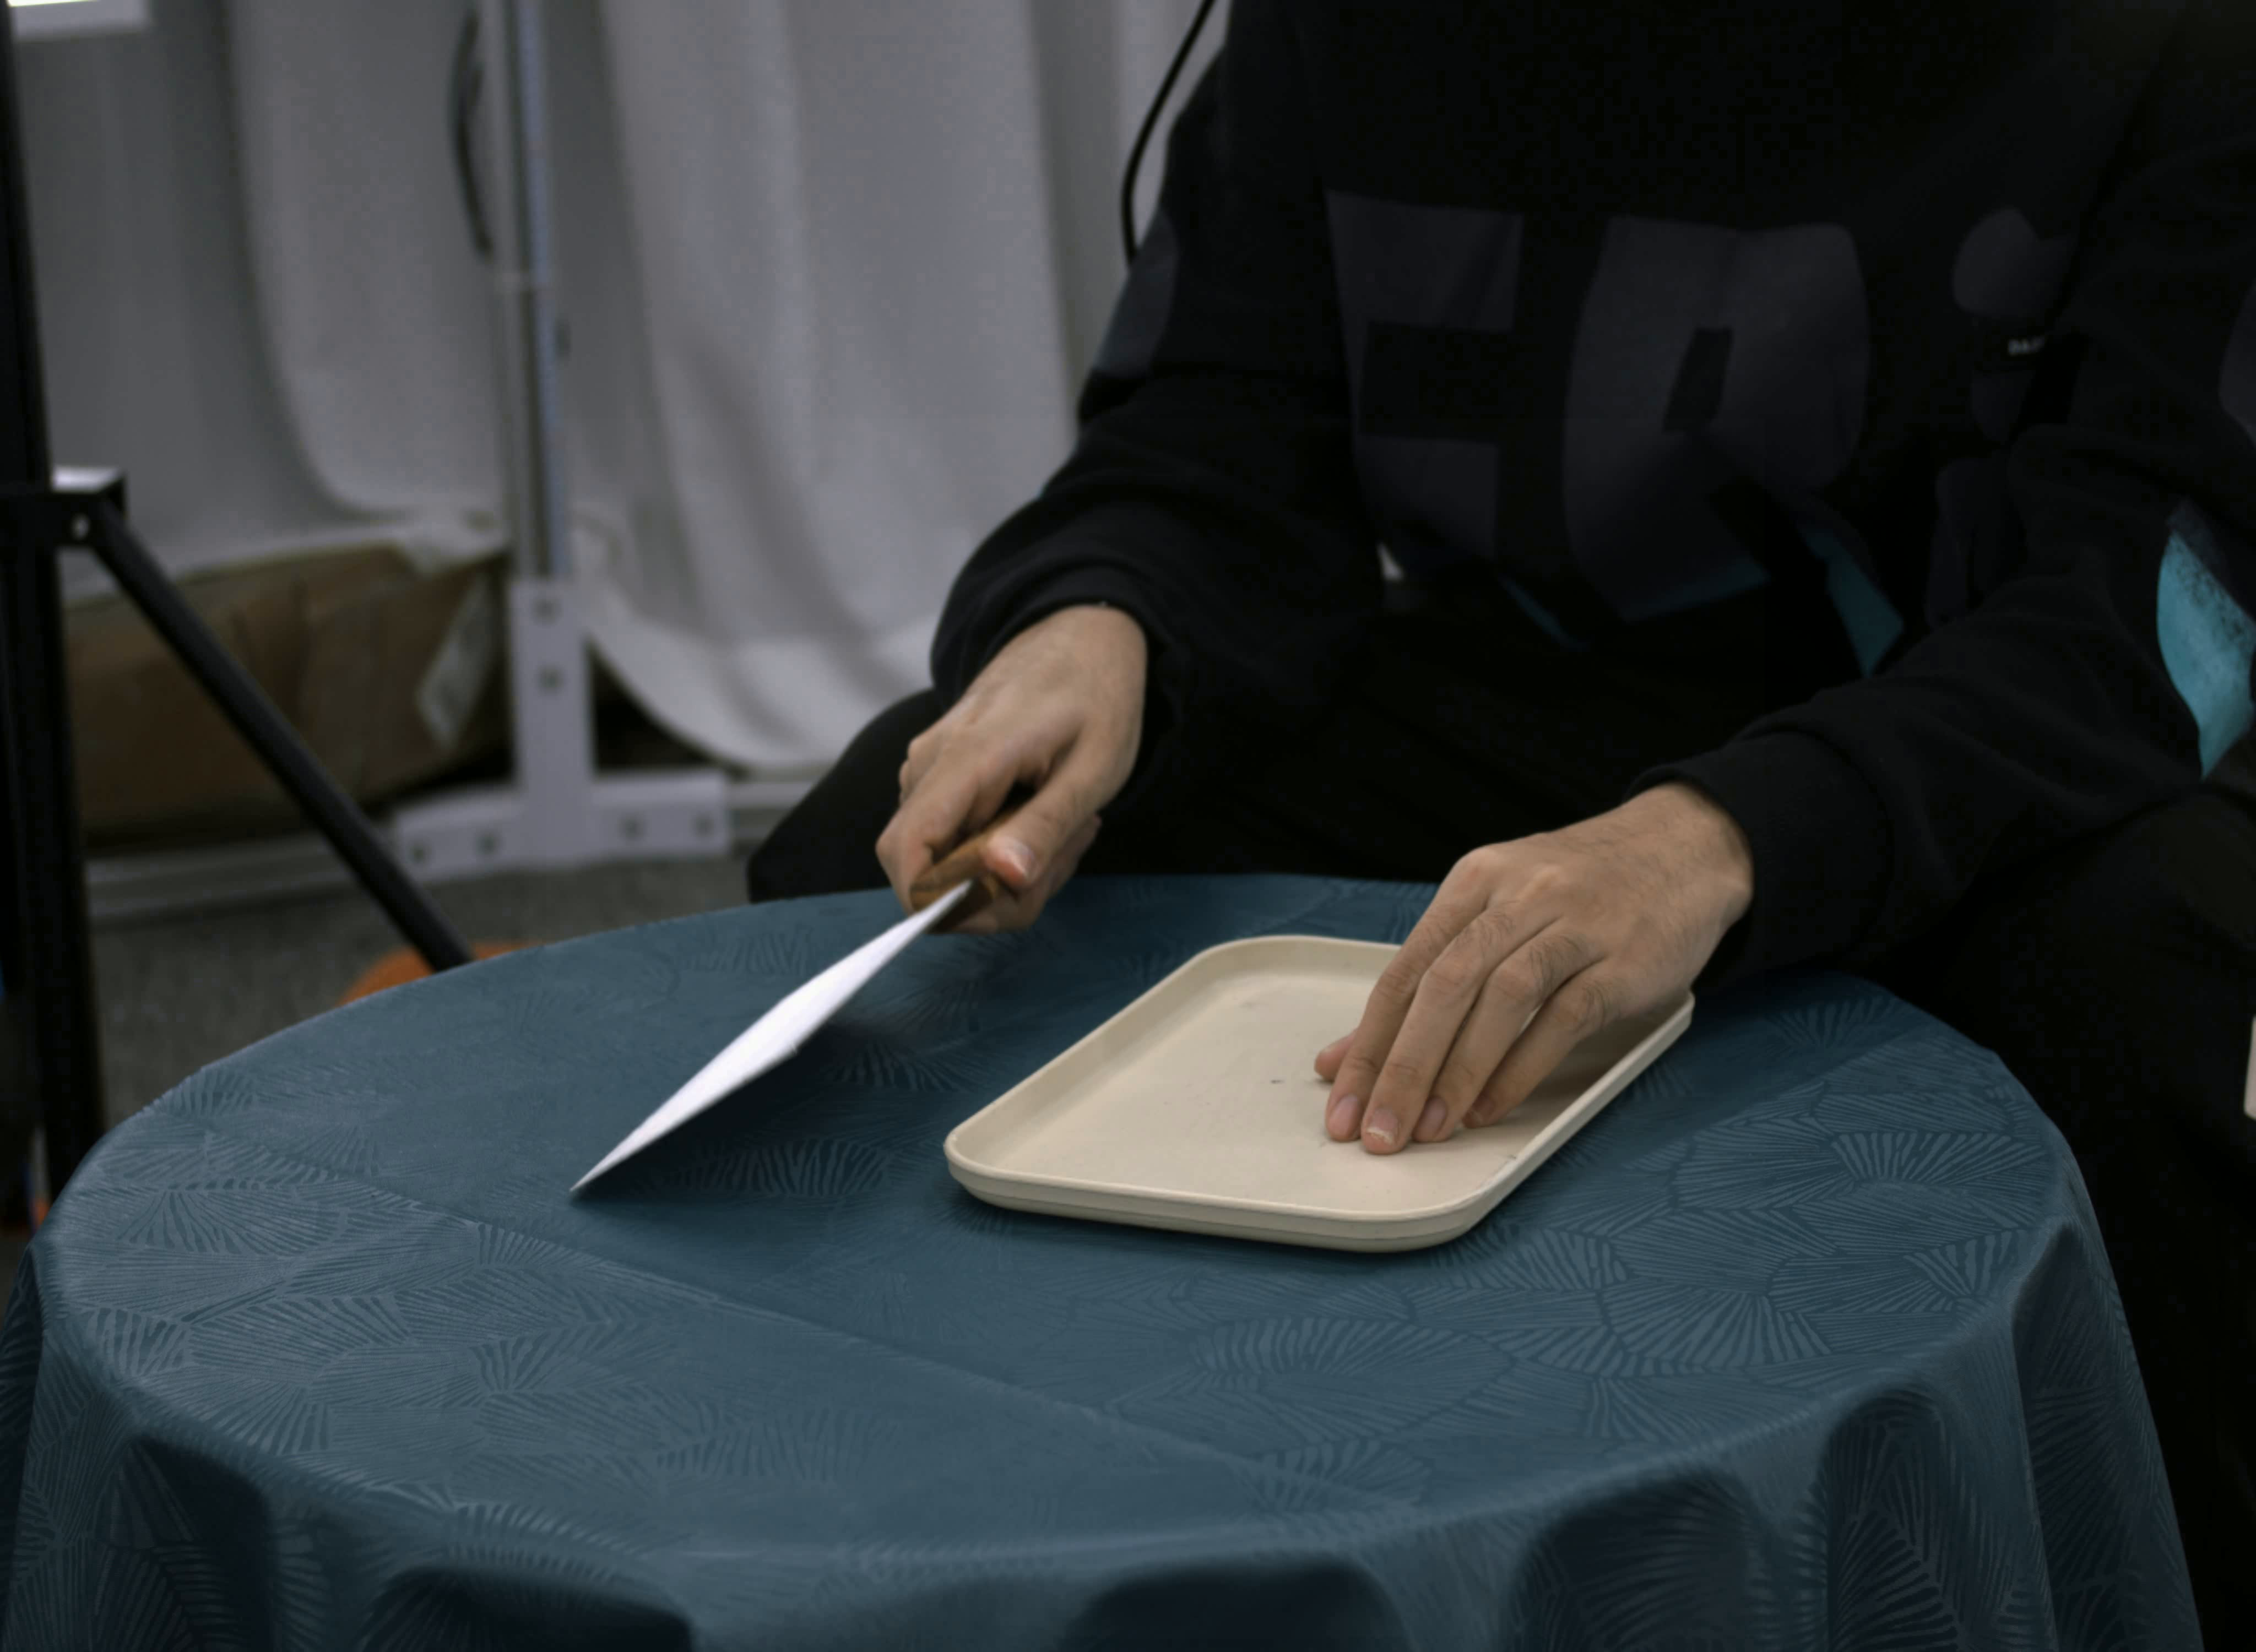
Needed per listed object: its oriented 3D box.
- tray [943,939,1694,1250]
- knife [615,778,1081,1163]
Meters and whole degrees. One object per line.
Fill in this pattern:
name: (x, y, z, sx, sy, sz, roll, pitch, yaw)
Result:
tray: (0.062, 0.080, 1.610, 0.174, 0.017, 0.236, 4, 17, 26)
knife: (-0.088, 0.047, 1.695, 0.094, 0.021, 0.303, -31, 5, 22)
